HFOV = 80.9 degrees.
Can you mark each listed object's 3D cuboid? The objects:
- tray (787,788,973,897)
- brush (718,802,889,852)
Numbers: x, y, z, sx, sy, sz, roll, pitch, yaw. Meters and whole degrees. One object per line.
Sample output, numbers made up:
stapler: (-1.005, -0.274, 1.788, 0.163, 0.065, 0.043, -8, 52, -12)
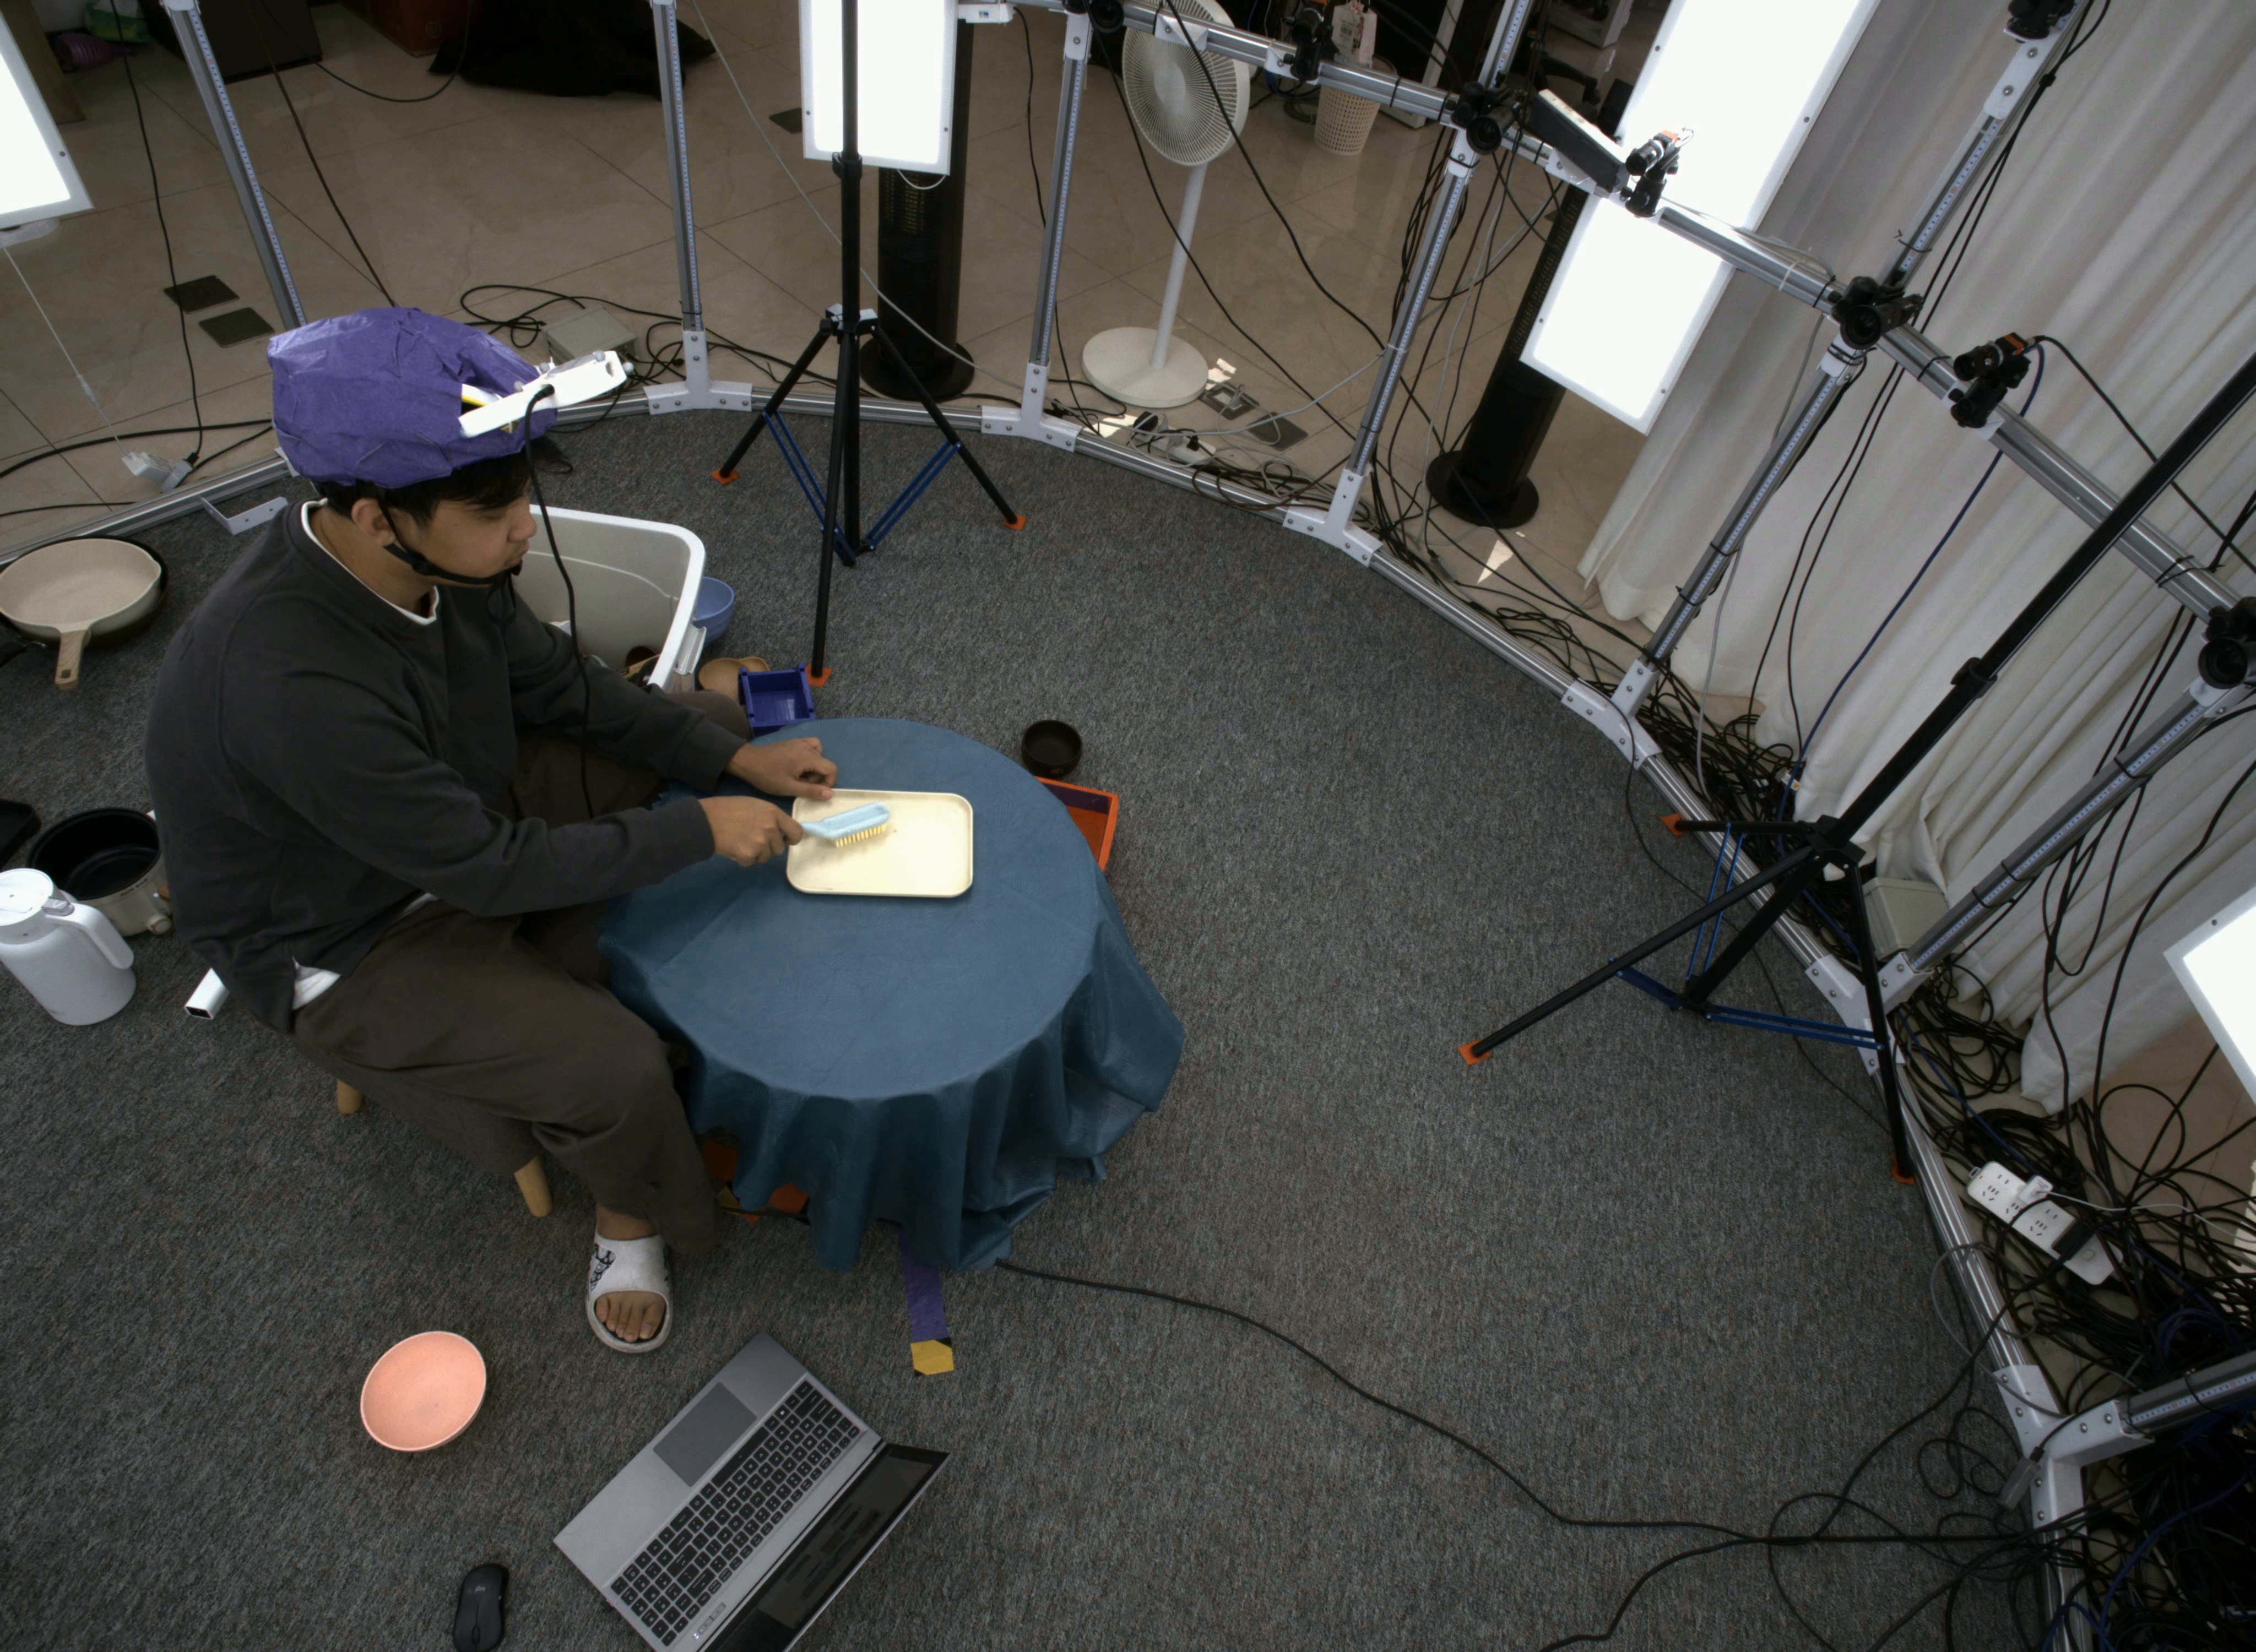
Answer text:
tray: (-0.324, 0.022, 1.717, 0.239, 0.018, 0.168, 3, 53, -12)
brush: (-0.415, 0.009, 1.667, 0.231, 0.050, 0.036, -12, 50, -37)
